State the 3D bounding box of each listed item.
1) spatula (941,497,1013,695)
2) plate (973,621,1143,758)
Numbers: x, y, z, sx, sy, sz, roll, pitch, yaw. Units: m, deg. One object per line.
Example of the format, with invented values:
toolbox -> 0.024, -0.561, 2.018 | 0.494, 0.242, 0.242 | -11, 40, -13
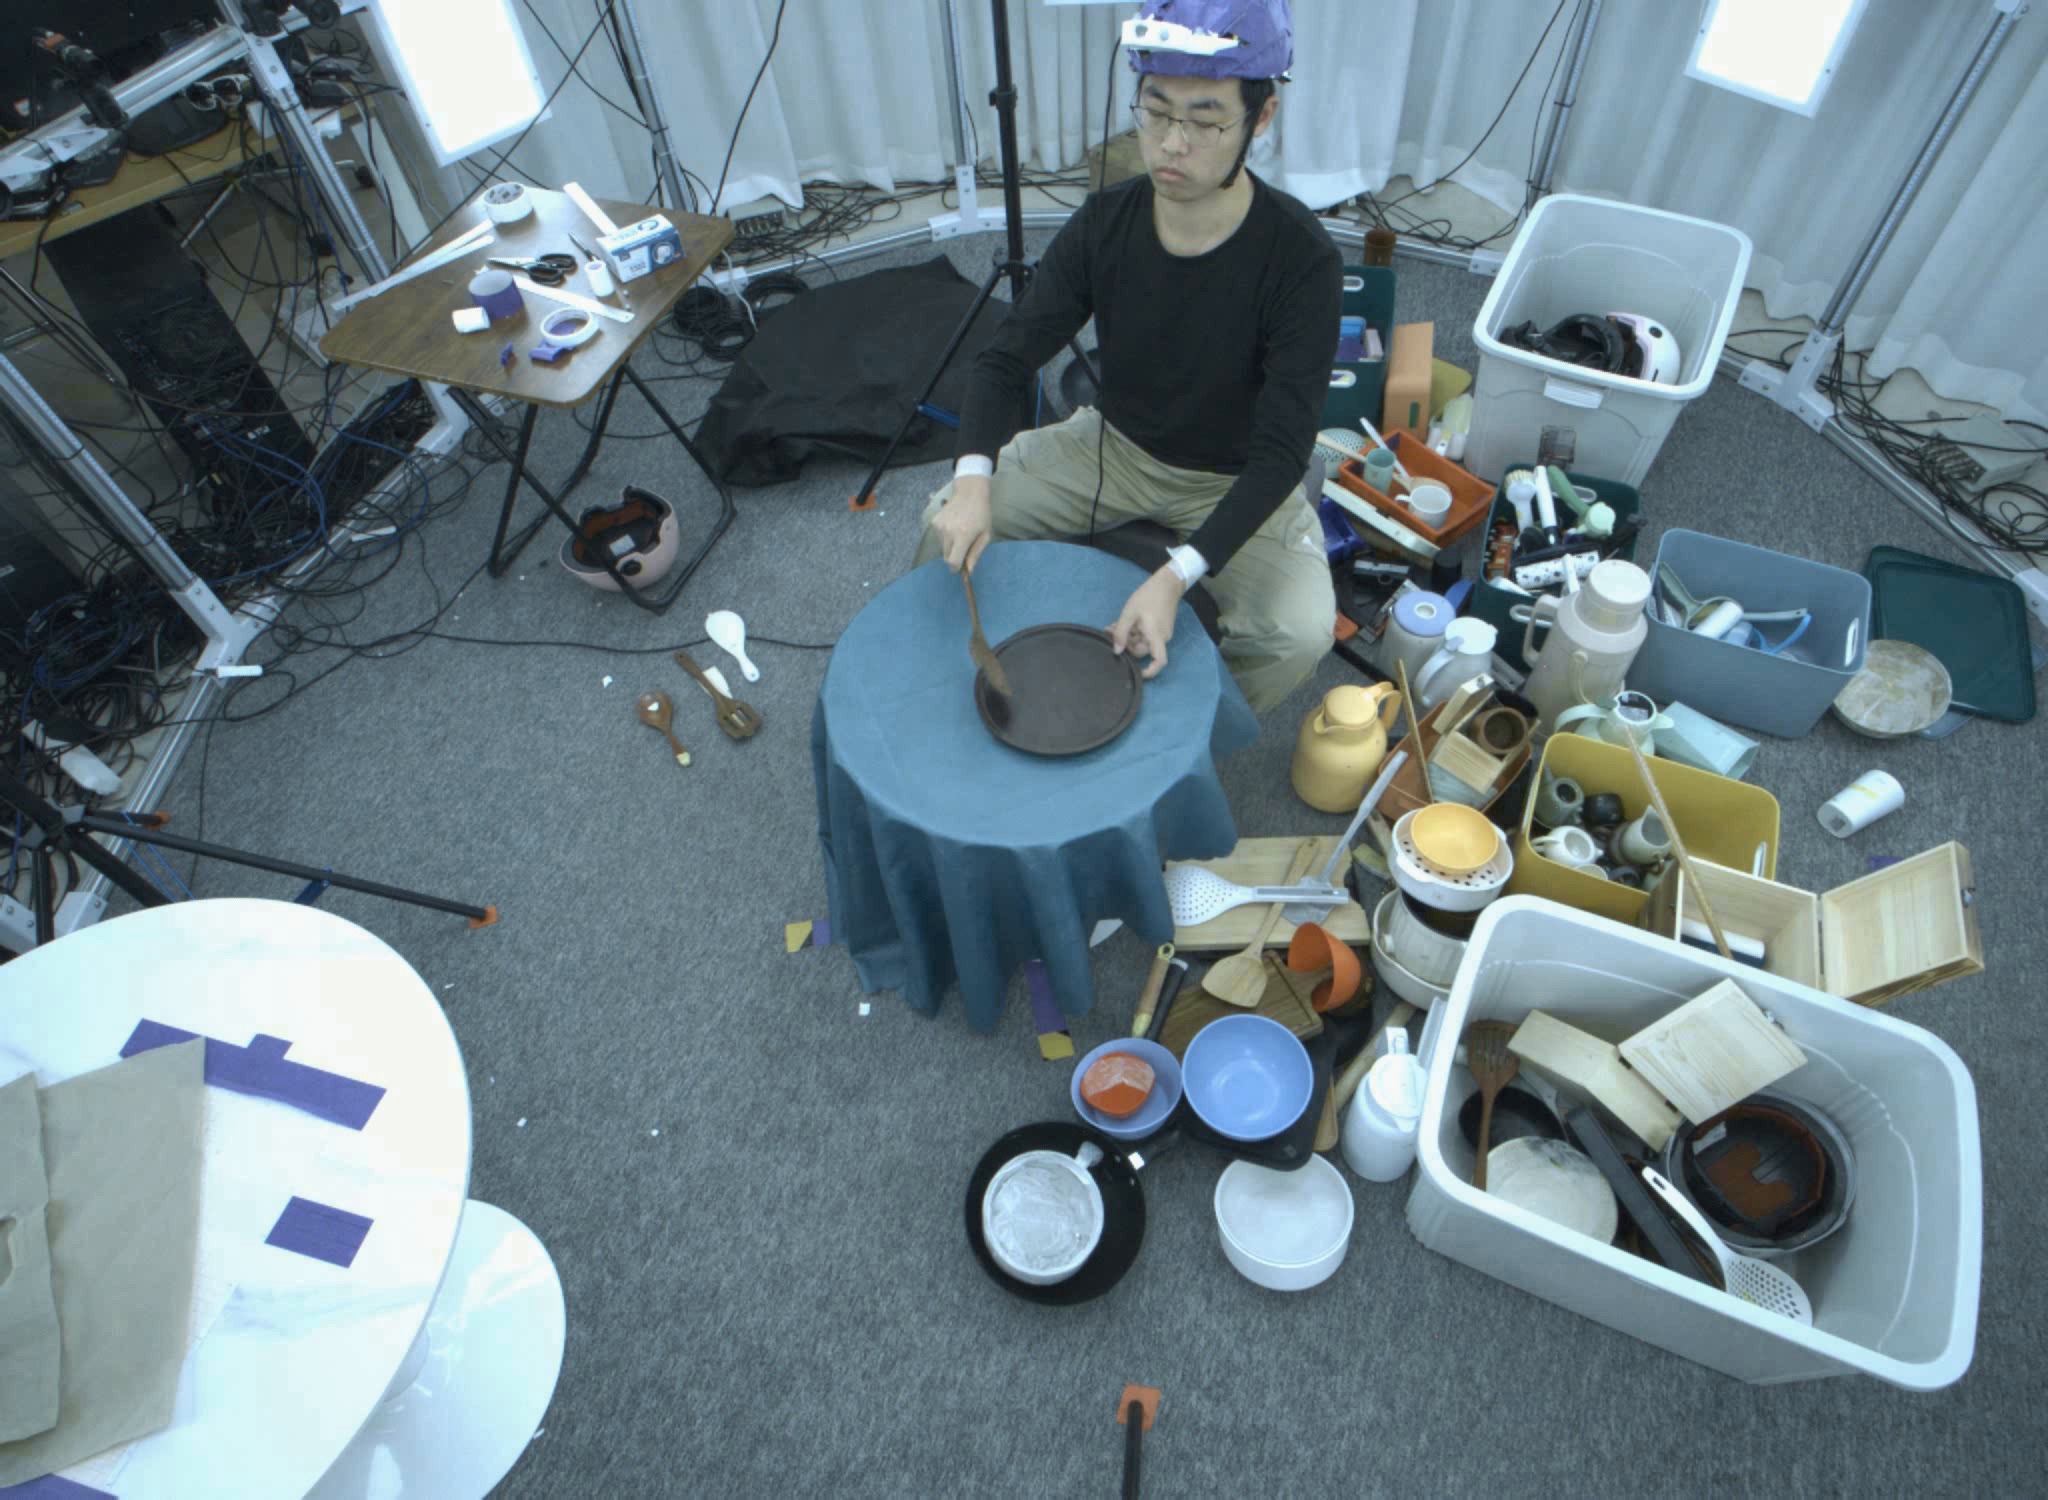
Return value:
spatula -> -0.082, -0.245, 1.850 | 0.015, 0.098, 0.380 | -26, 58, 18
plate -> 0.051, -0.091, 1.837 | 0.254, 0.029, 0.252 | -1, 55, 3
